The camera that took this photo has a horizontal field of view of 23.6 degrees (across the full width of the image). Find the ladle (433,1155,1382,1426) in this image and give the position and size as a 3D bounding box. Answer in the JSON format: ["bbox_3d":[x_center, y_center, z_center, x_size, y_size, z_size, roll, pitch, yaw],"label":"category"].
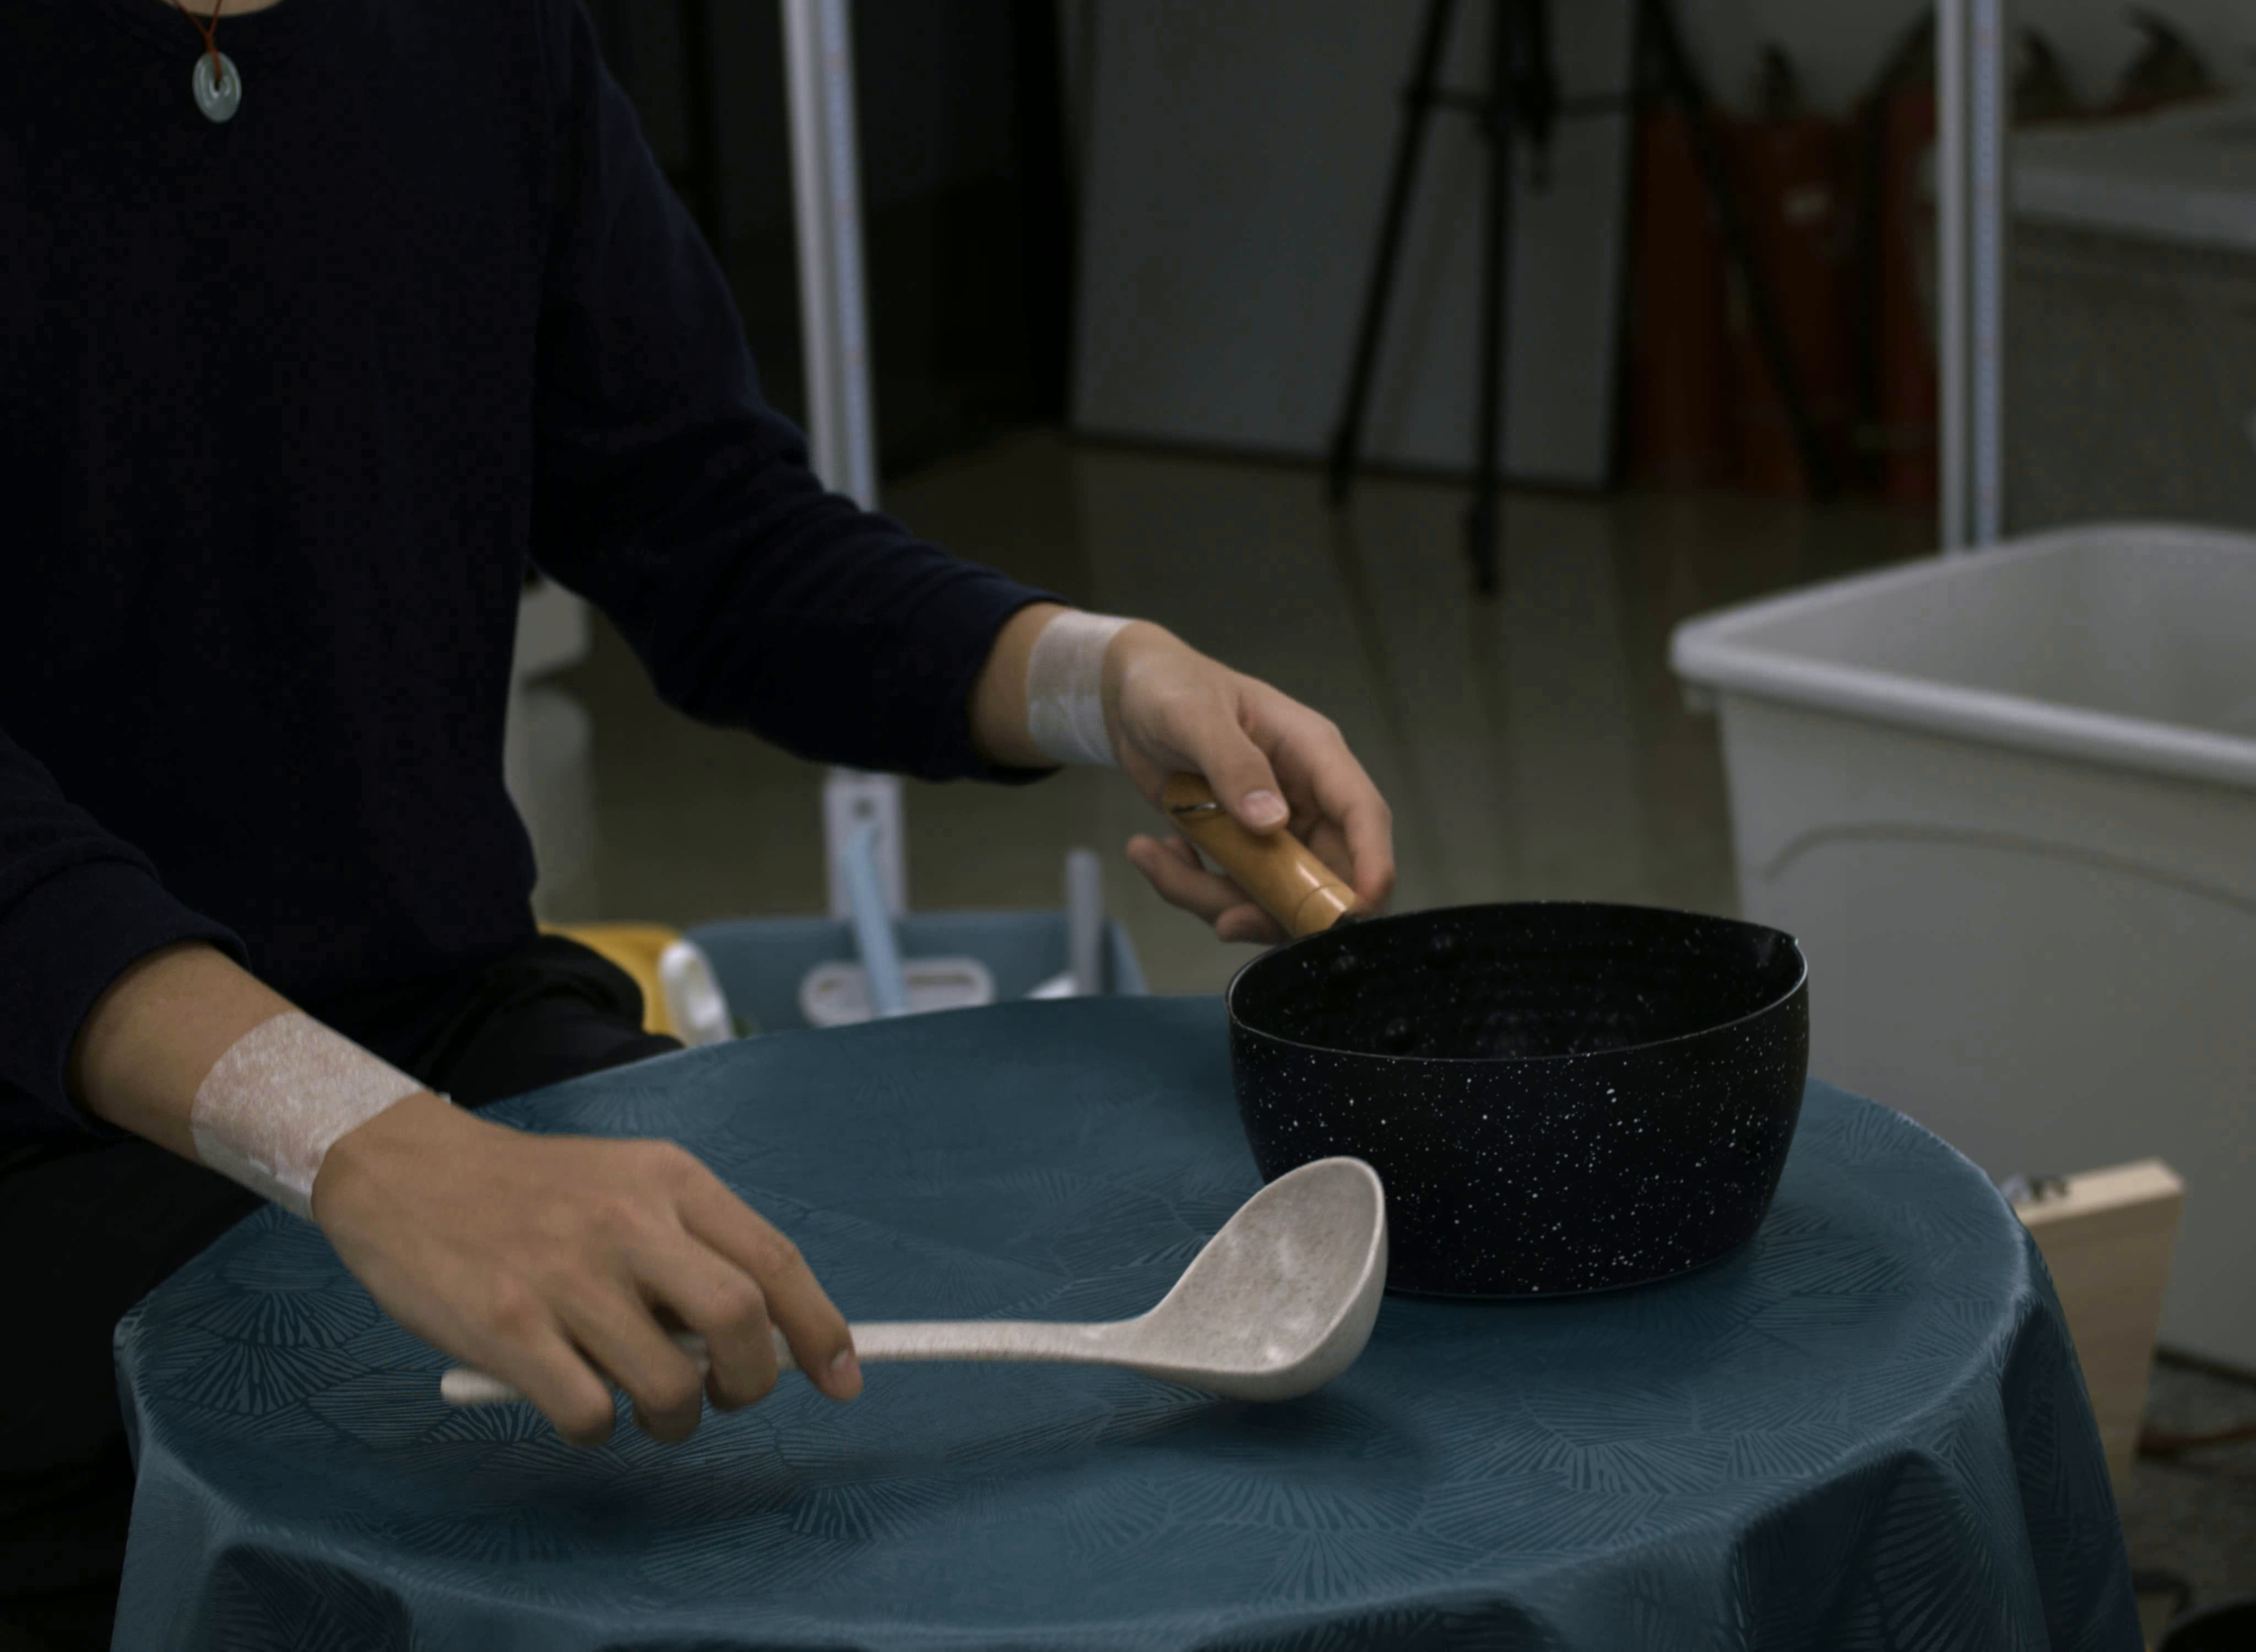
[{"bbox_3d":[-0.060,0.132,1.533,0.269,0.070,0.090,0,22,-14],"label":"ladle"}]

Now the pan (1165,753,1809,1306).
[{"bbox_3d":[0.090,0.061,1.763,0.203,0.109,0.346,-11,16,-22],"label":"pan"}]
